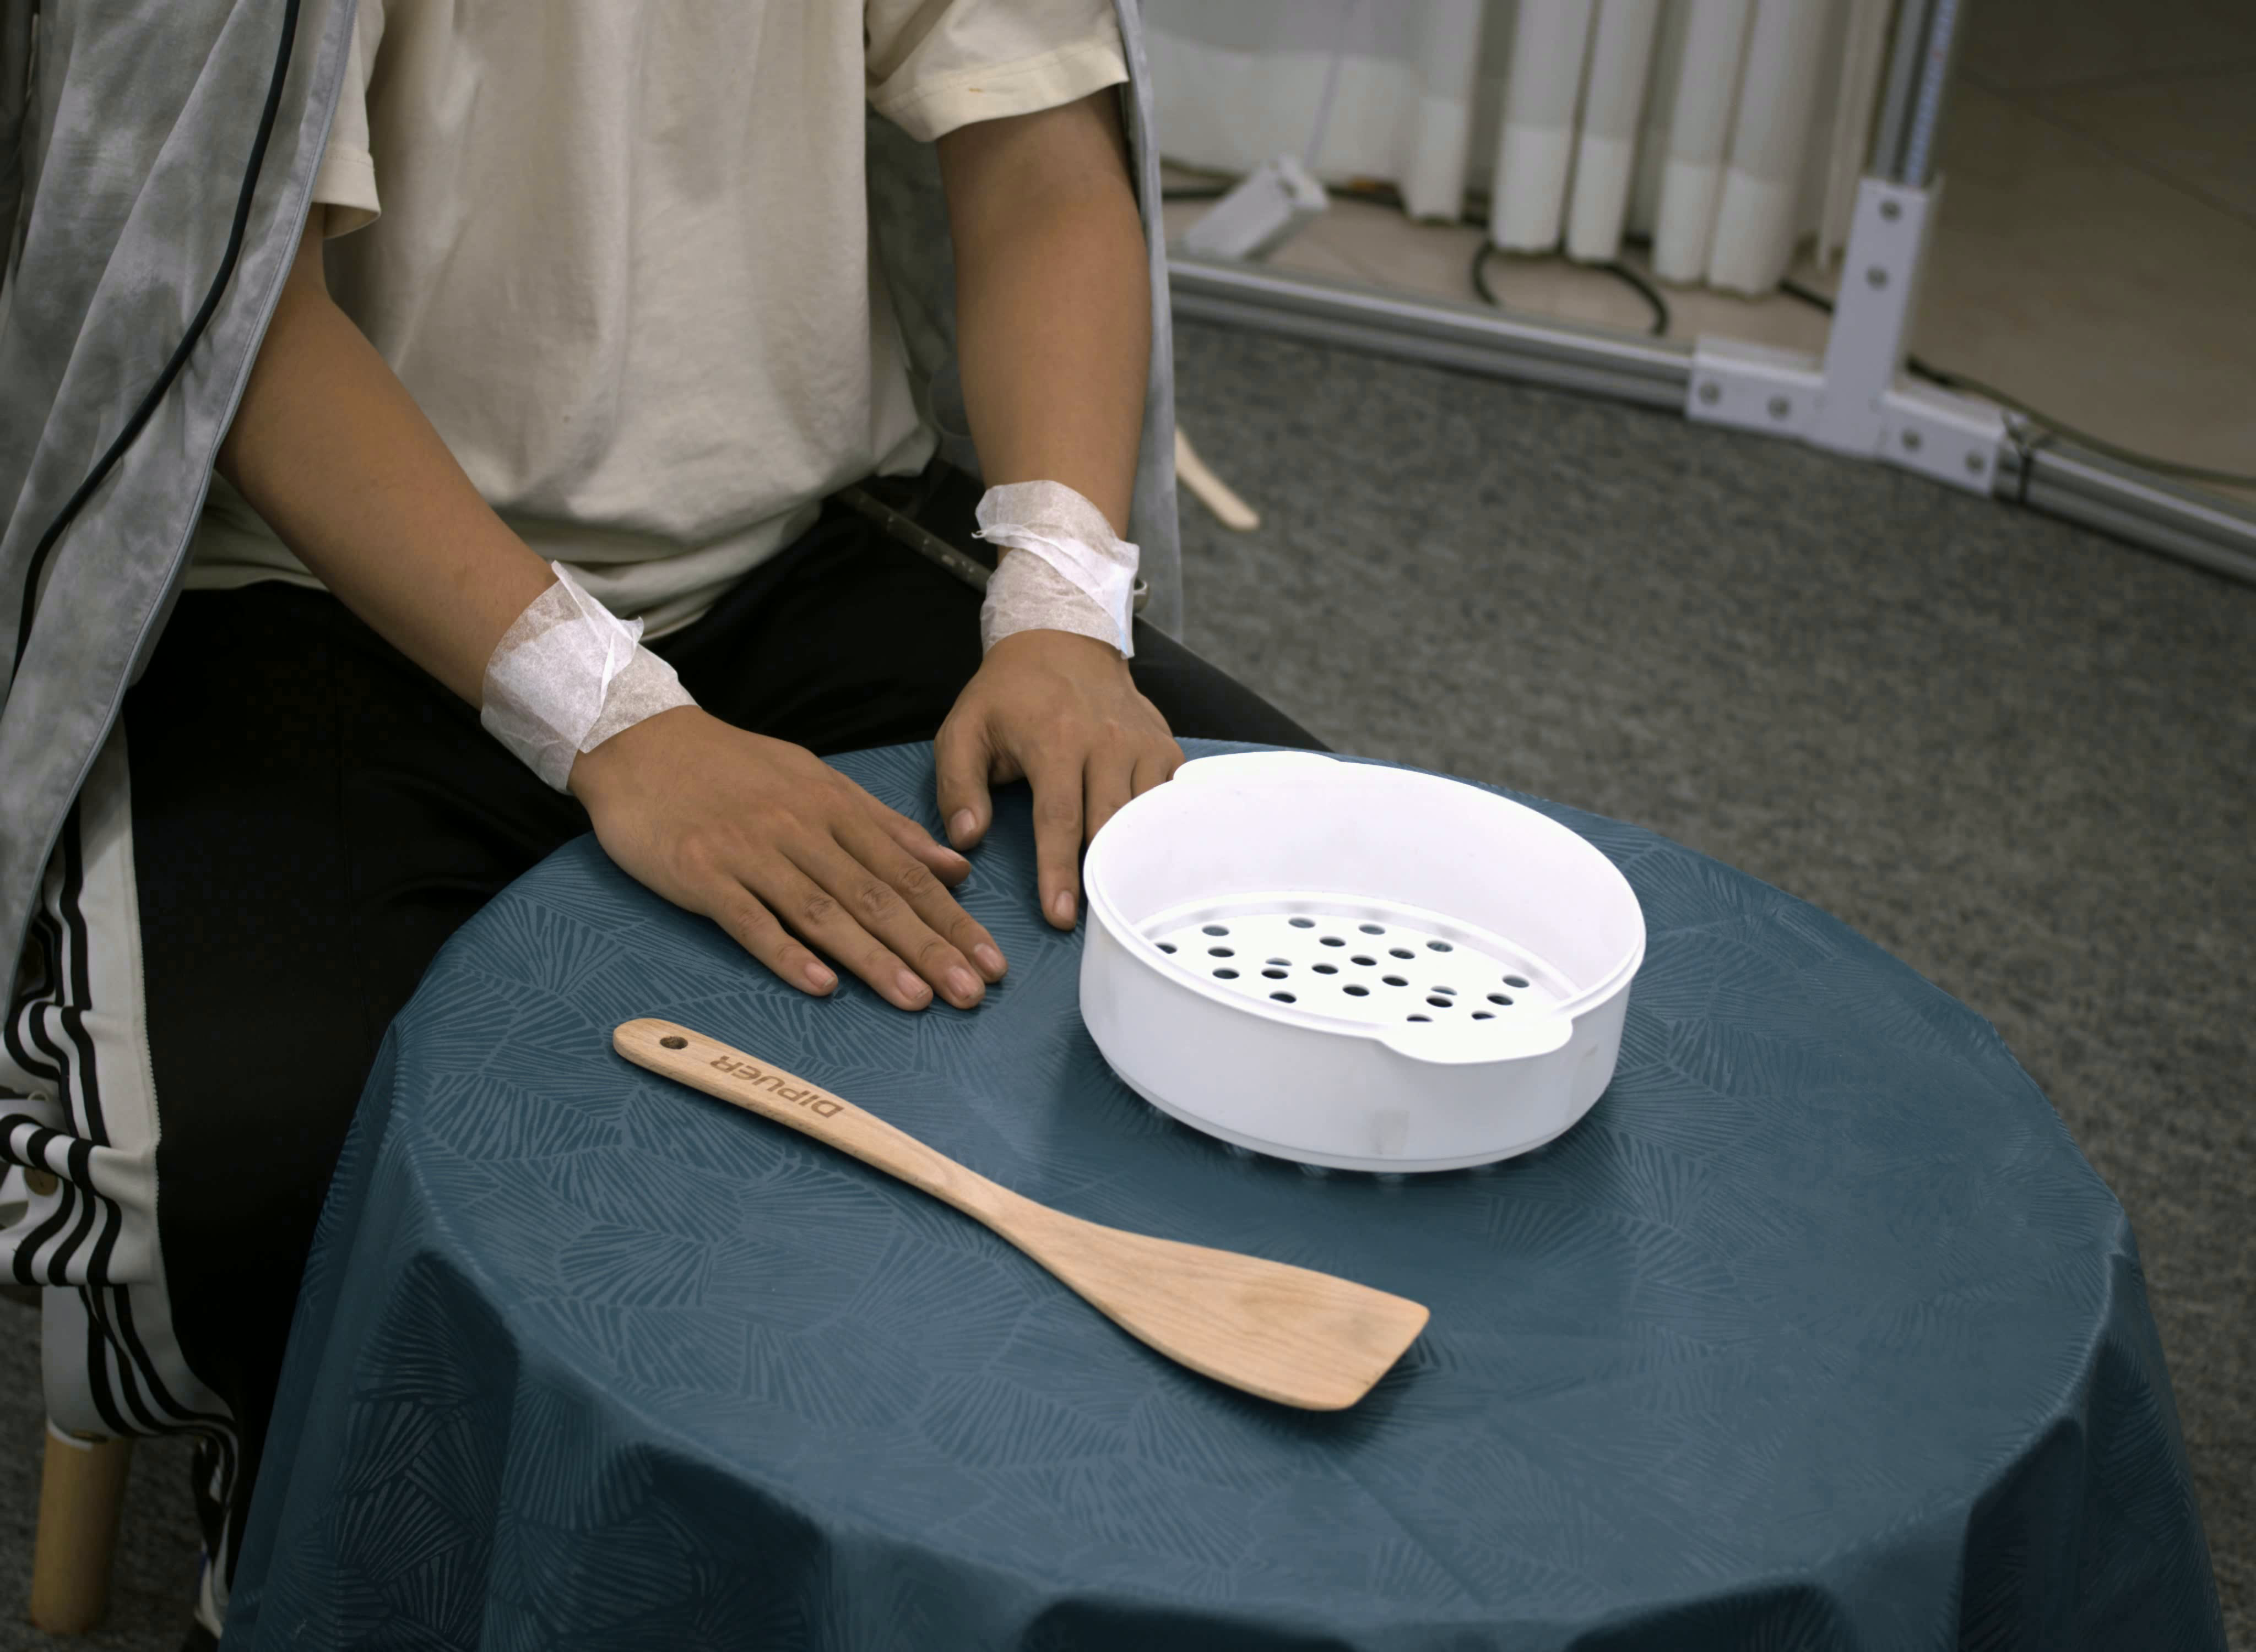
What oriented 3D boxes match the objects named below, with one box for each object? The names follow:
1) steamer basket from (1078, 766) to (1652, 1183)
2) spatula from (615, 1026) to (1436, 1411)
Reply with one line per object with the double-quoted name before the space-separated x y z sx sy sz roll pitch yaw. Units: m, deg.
"steamer basket" 0.082 0.054 1.888 0.200 0.069 0.232 -3 28 -21
"spatula" -0.042 0.124 1.776 0.329 0.016 0.079 22 30 29
